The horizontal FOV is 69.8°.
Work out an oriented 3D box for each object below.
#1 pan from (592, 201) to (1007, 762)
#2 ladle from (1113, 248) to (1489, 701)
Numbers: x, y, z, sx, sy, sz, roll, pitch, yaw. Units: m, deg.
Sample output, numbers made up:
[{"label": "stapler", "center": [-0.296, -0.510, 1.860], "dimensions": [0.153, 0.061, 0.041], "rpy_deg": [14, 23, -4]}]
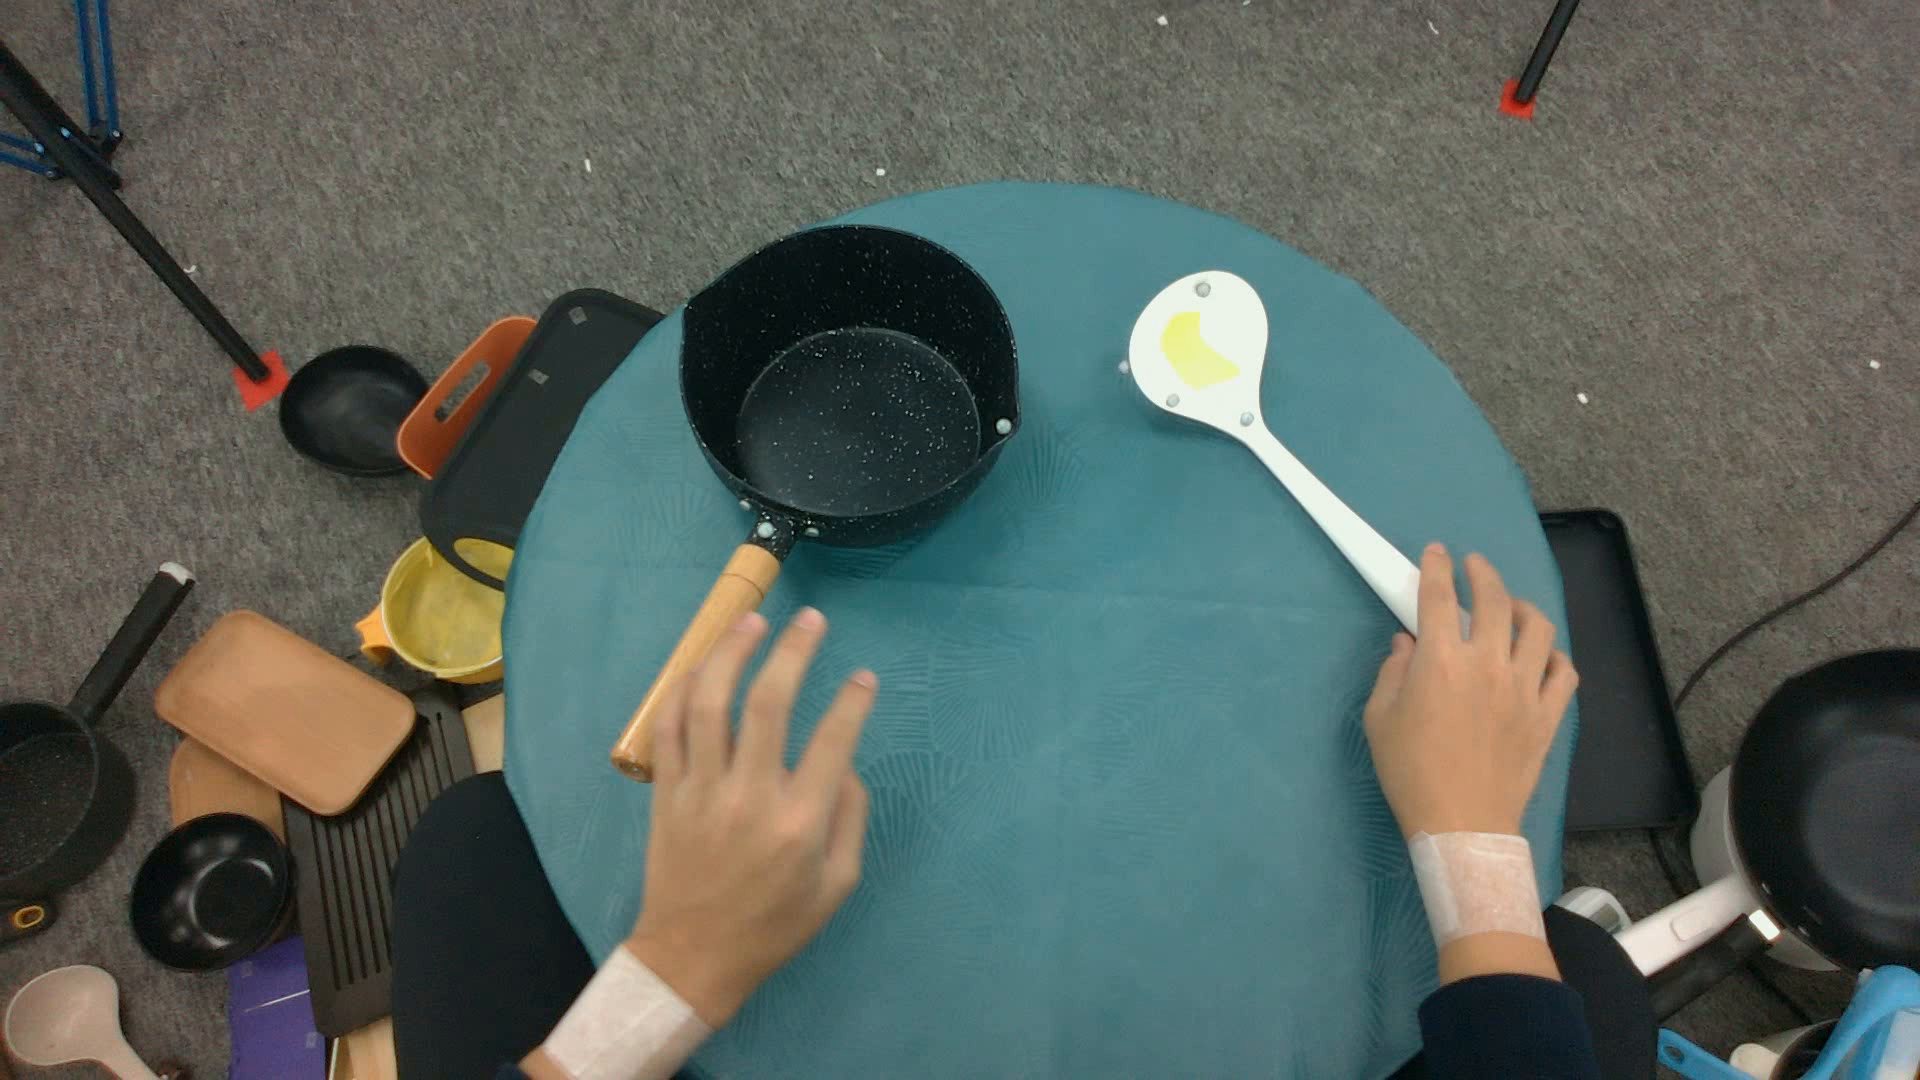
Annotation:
[{"label": "pan", "center": [-0.097, -0.026, 0.742], "dimensions": [0.207, 0.108, 0.344], "rpy_deg": [19, 67, 6]}, {"label": "ladle", "center": [0.194, -0.039, 0.777], "dimensions": [0.090, 0.070, 0.293], "rpy_deg": [-32, 69, -10]}]
